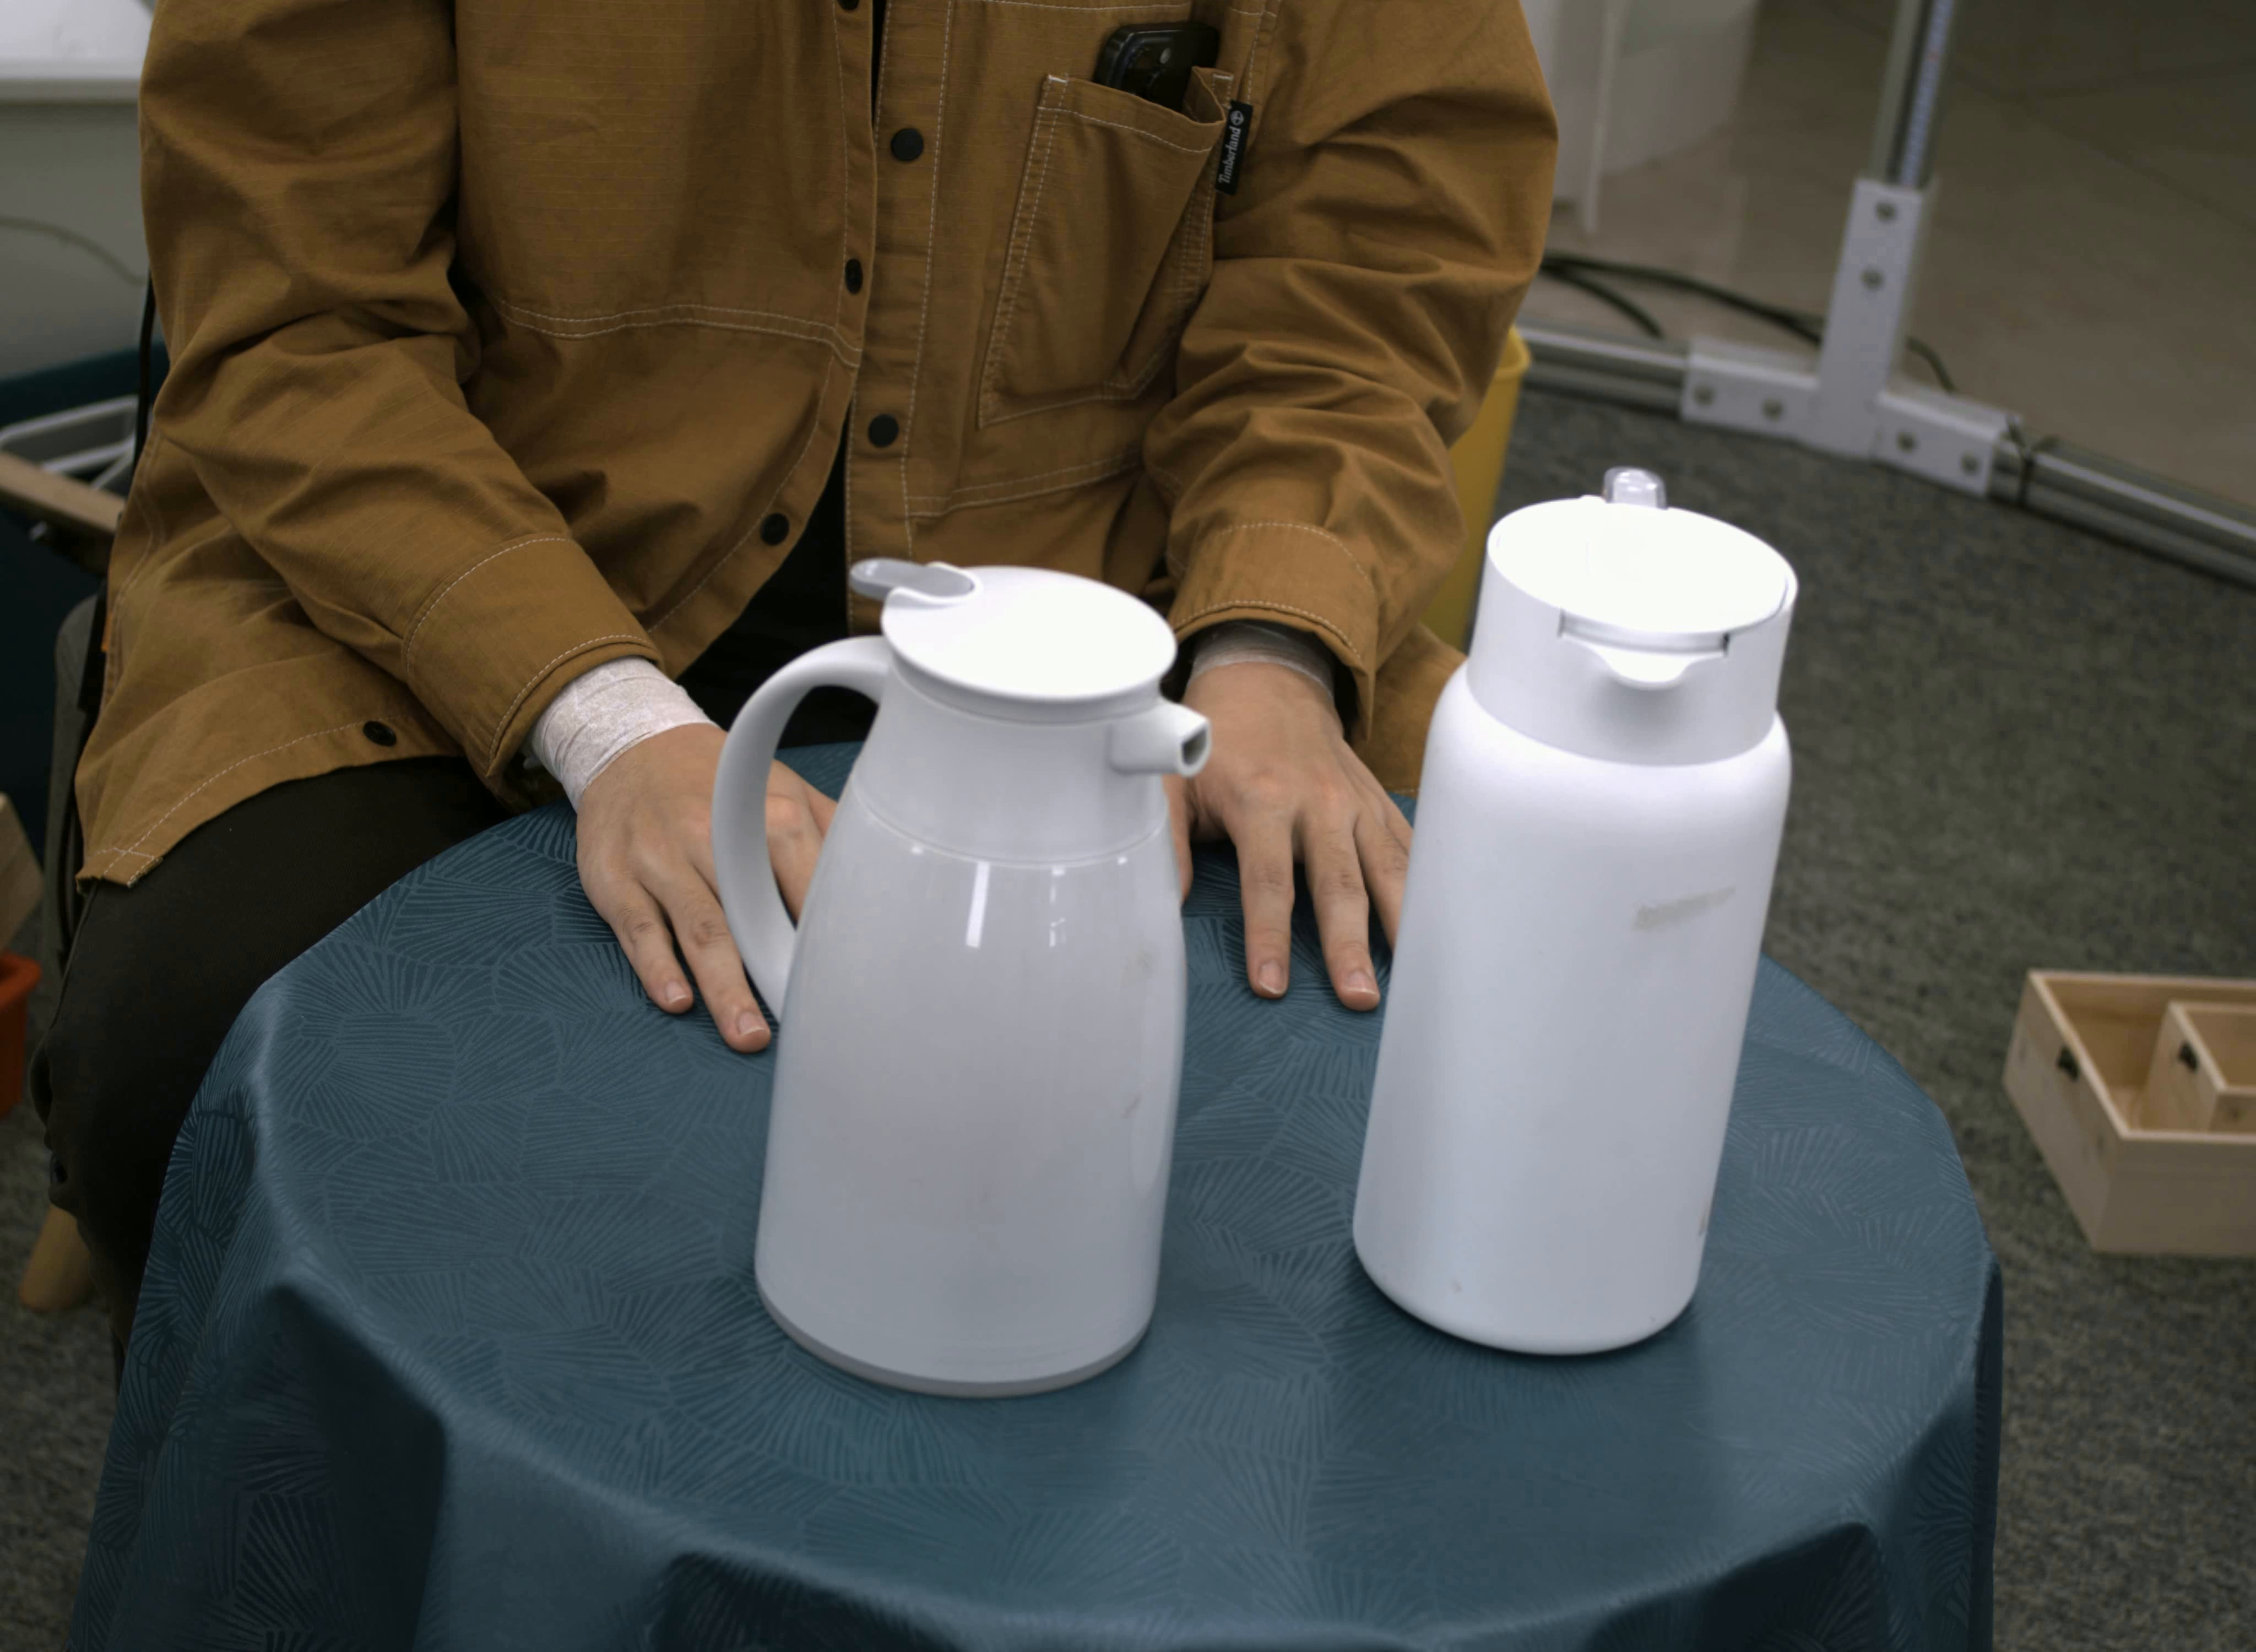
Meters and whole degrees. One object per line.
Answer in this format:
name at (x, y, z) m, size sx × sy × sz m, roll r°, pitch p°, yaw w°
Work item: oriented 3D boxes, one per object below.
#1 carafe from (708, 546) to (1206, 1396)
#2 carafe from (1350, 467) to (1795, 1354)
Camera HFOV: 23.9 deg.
carafe at (-0.062, 0.036, 1.691) m, size 0.168 × 0.248 × 0.132 m, roll 19°, pitch 28°, yaw 24°
carafe at (0.145, 0.024, 1.740) m, size 0.123 × 0.268 × 0.174 m, roll 5°, pitch 26°, yaw 0°
